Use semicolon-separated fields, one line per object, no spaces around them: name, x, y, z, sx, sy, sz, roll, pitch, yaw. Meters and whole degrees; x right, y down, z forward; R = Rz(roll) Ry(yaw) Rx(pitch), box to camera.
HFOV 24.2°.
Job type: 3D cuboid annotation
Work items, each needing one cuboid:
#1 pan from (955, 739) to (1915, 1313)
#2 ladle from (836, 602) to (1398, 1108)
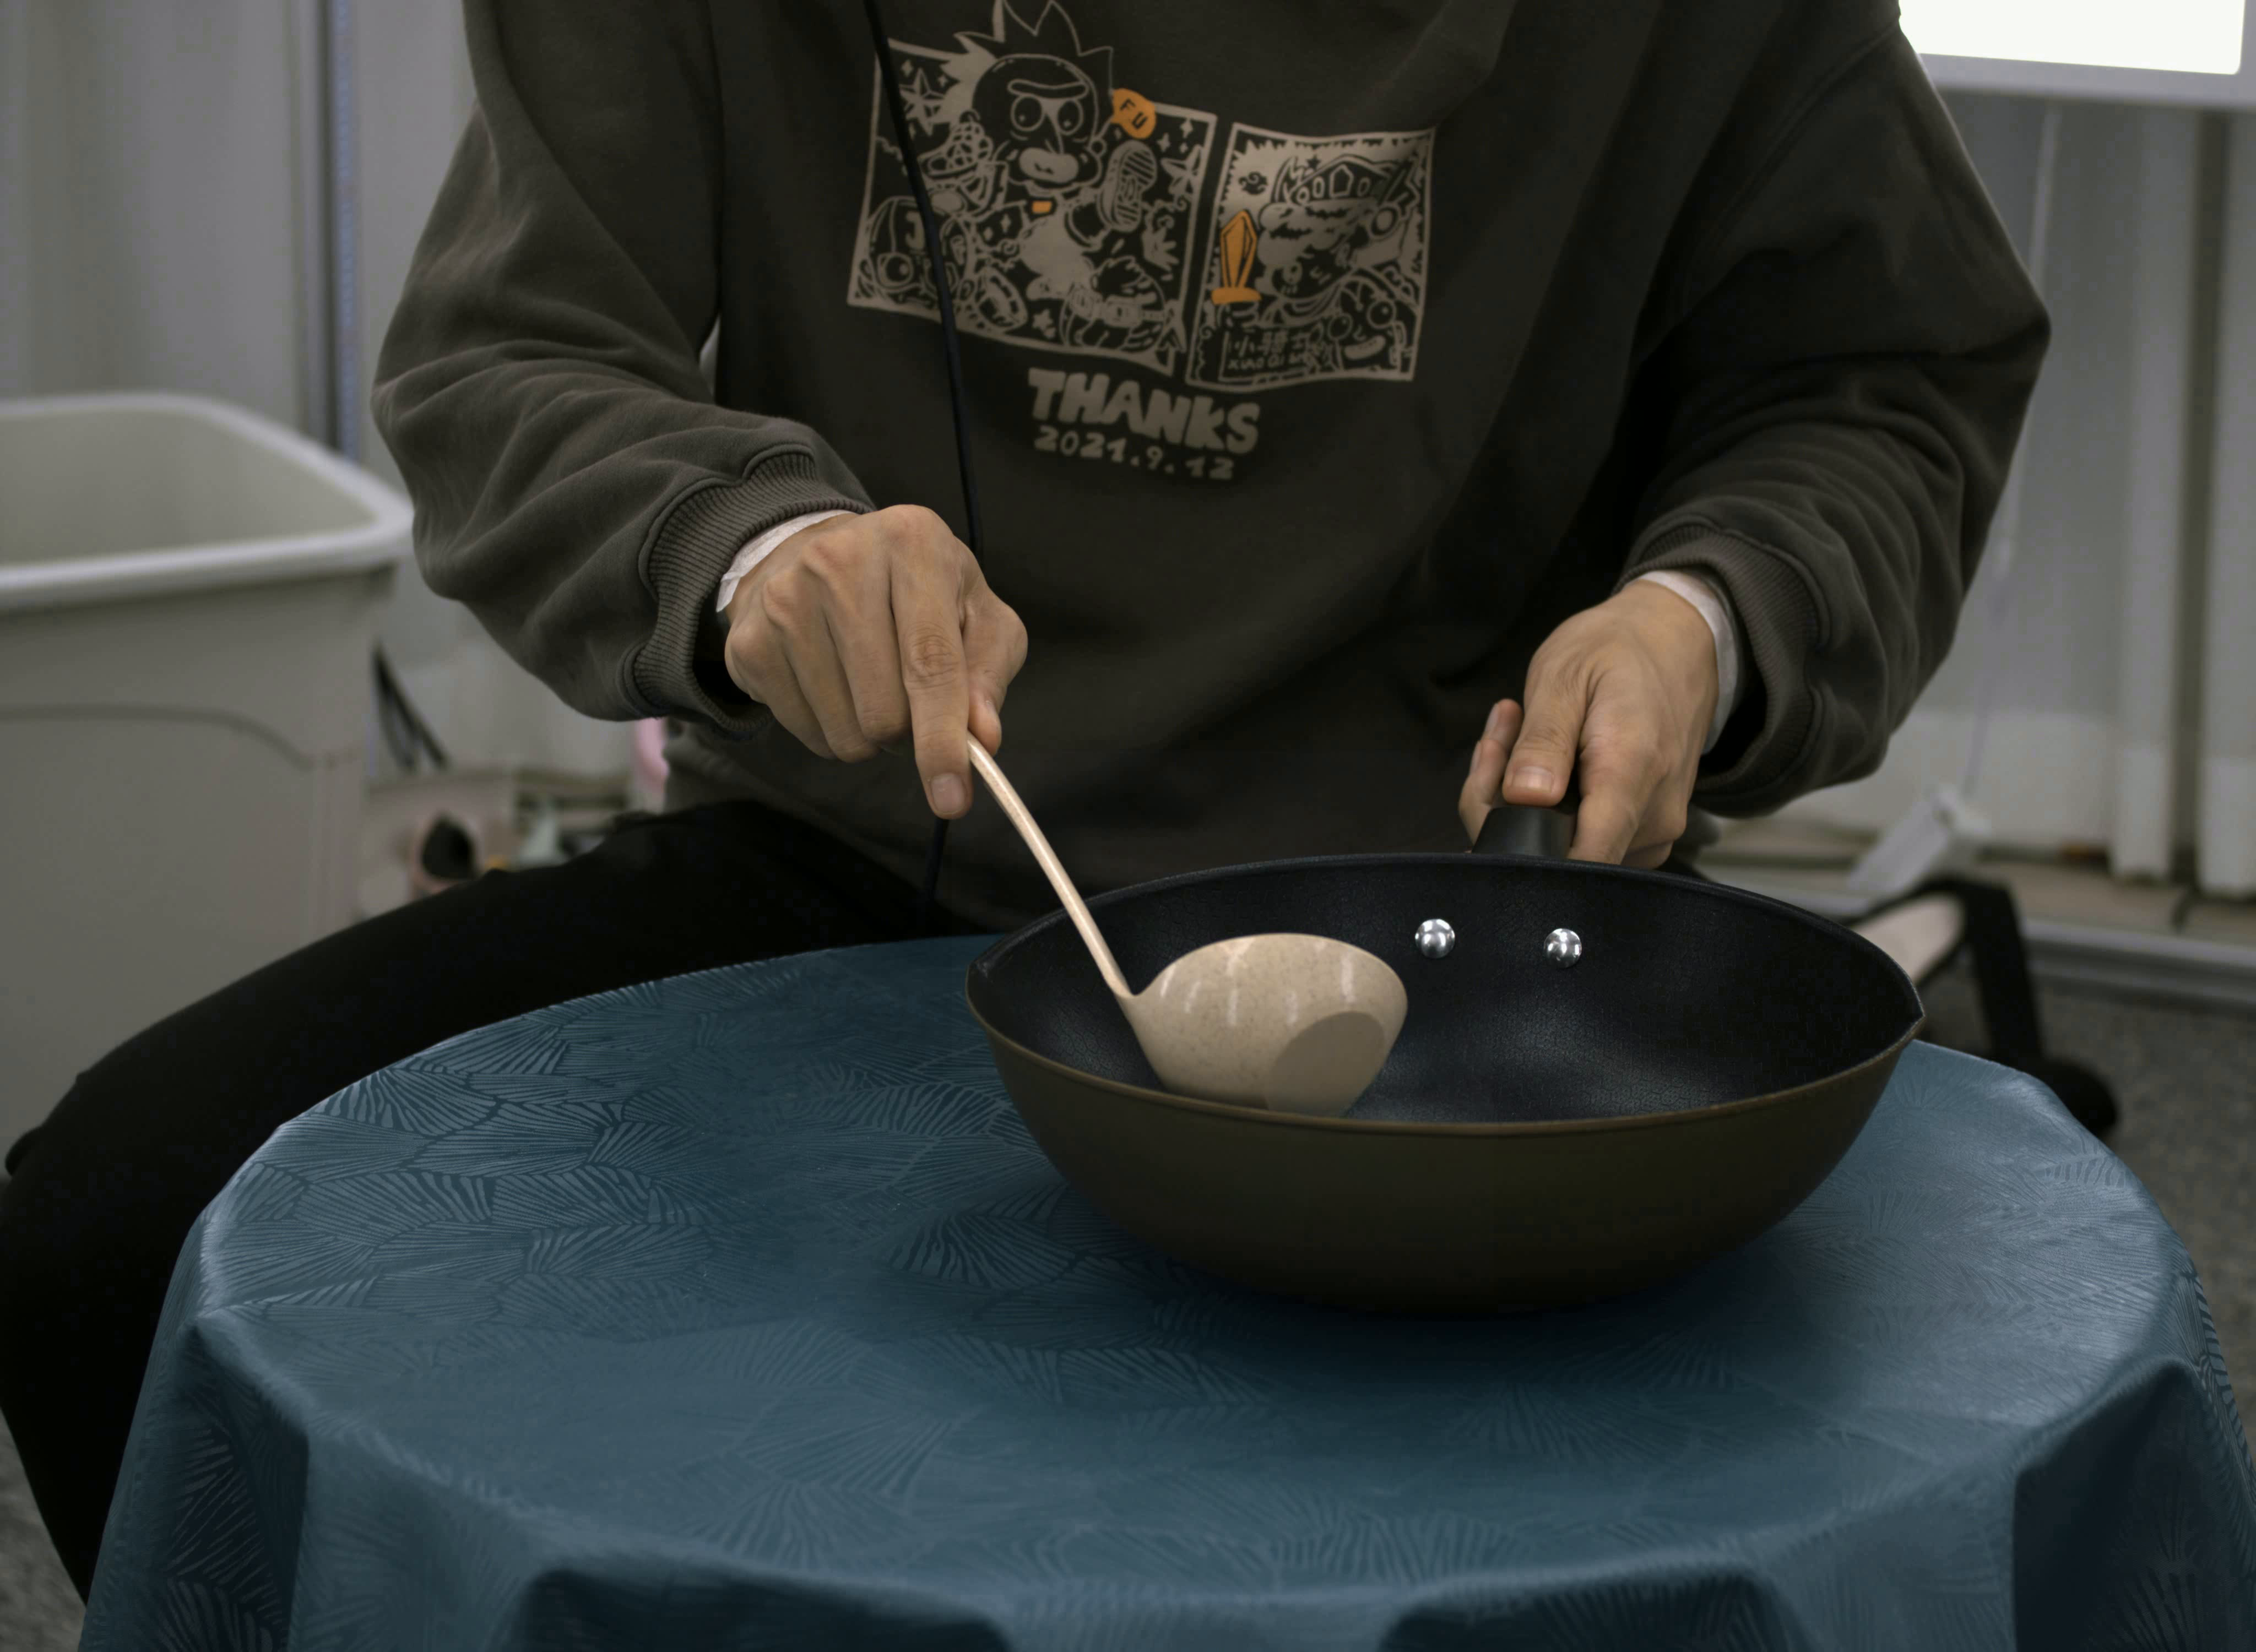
pan;0.109;0.060;1.668;0.286;0.087;0.462;3;15;11
ladle;-0.005;-0.009;1.550;0.073;0.073;0.251;-37;51;2
